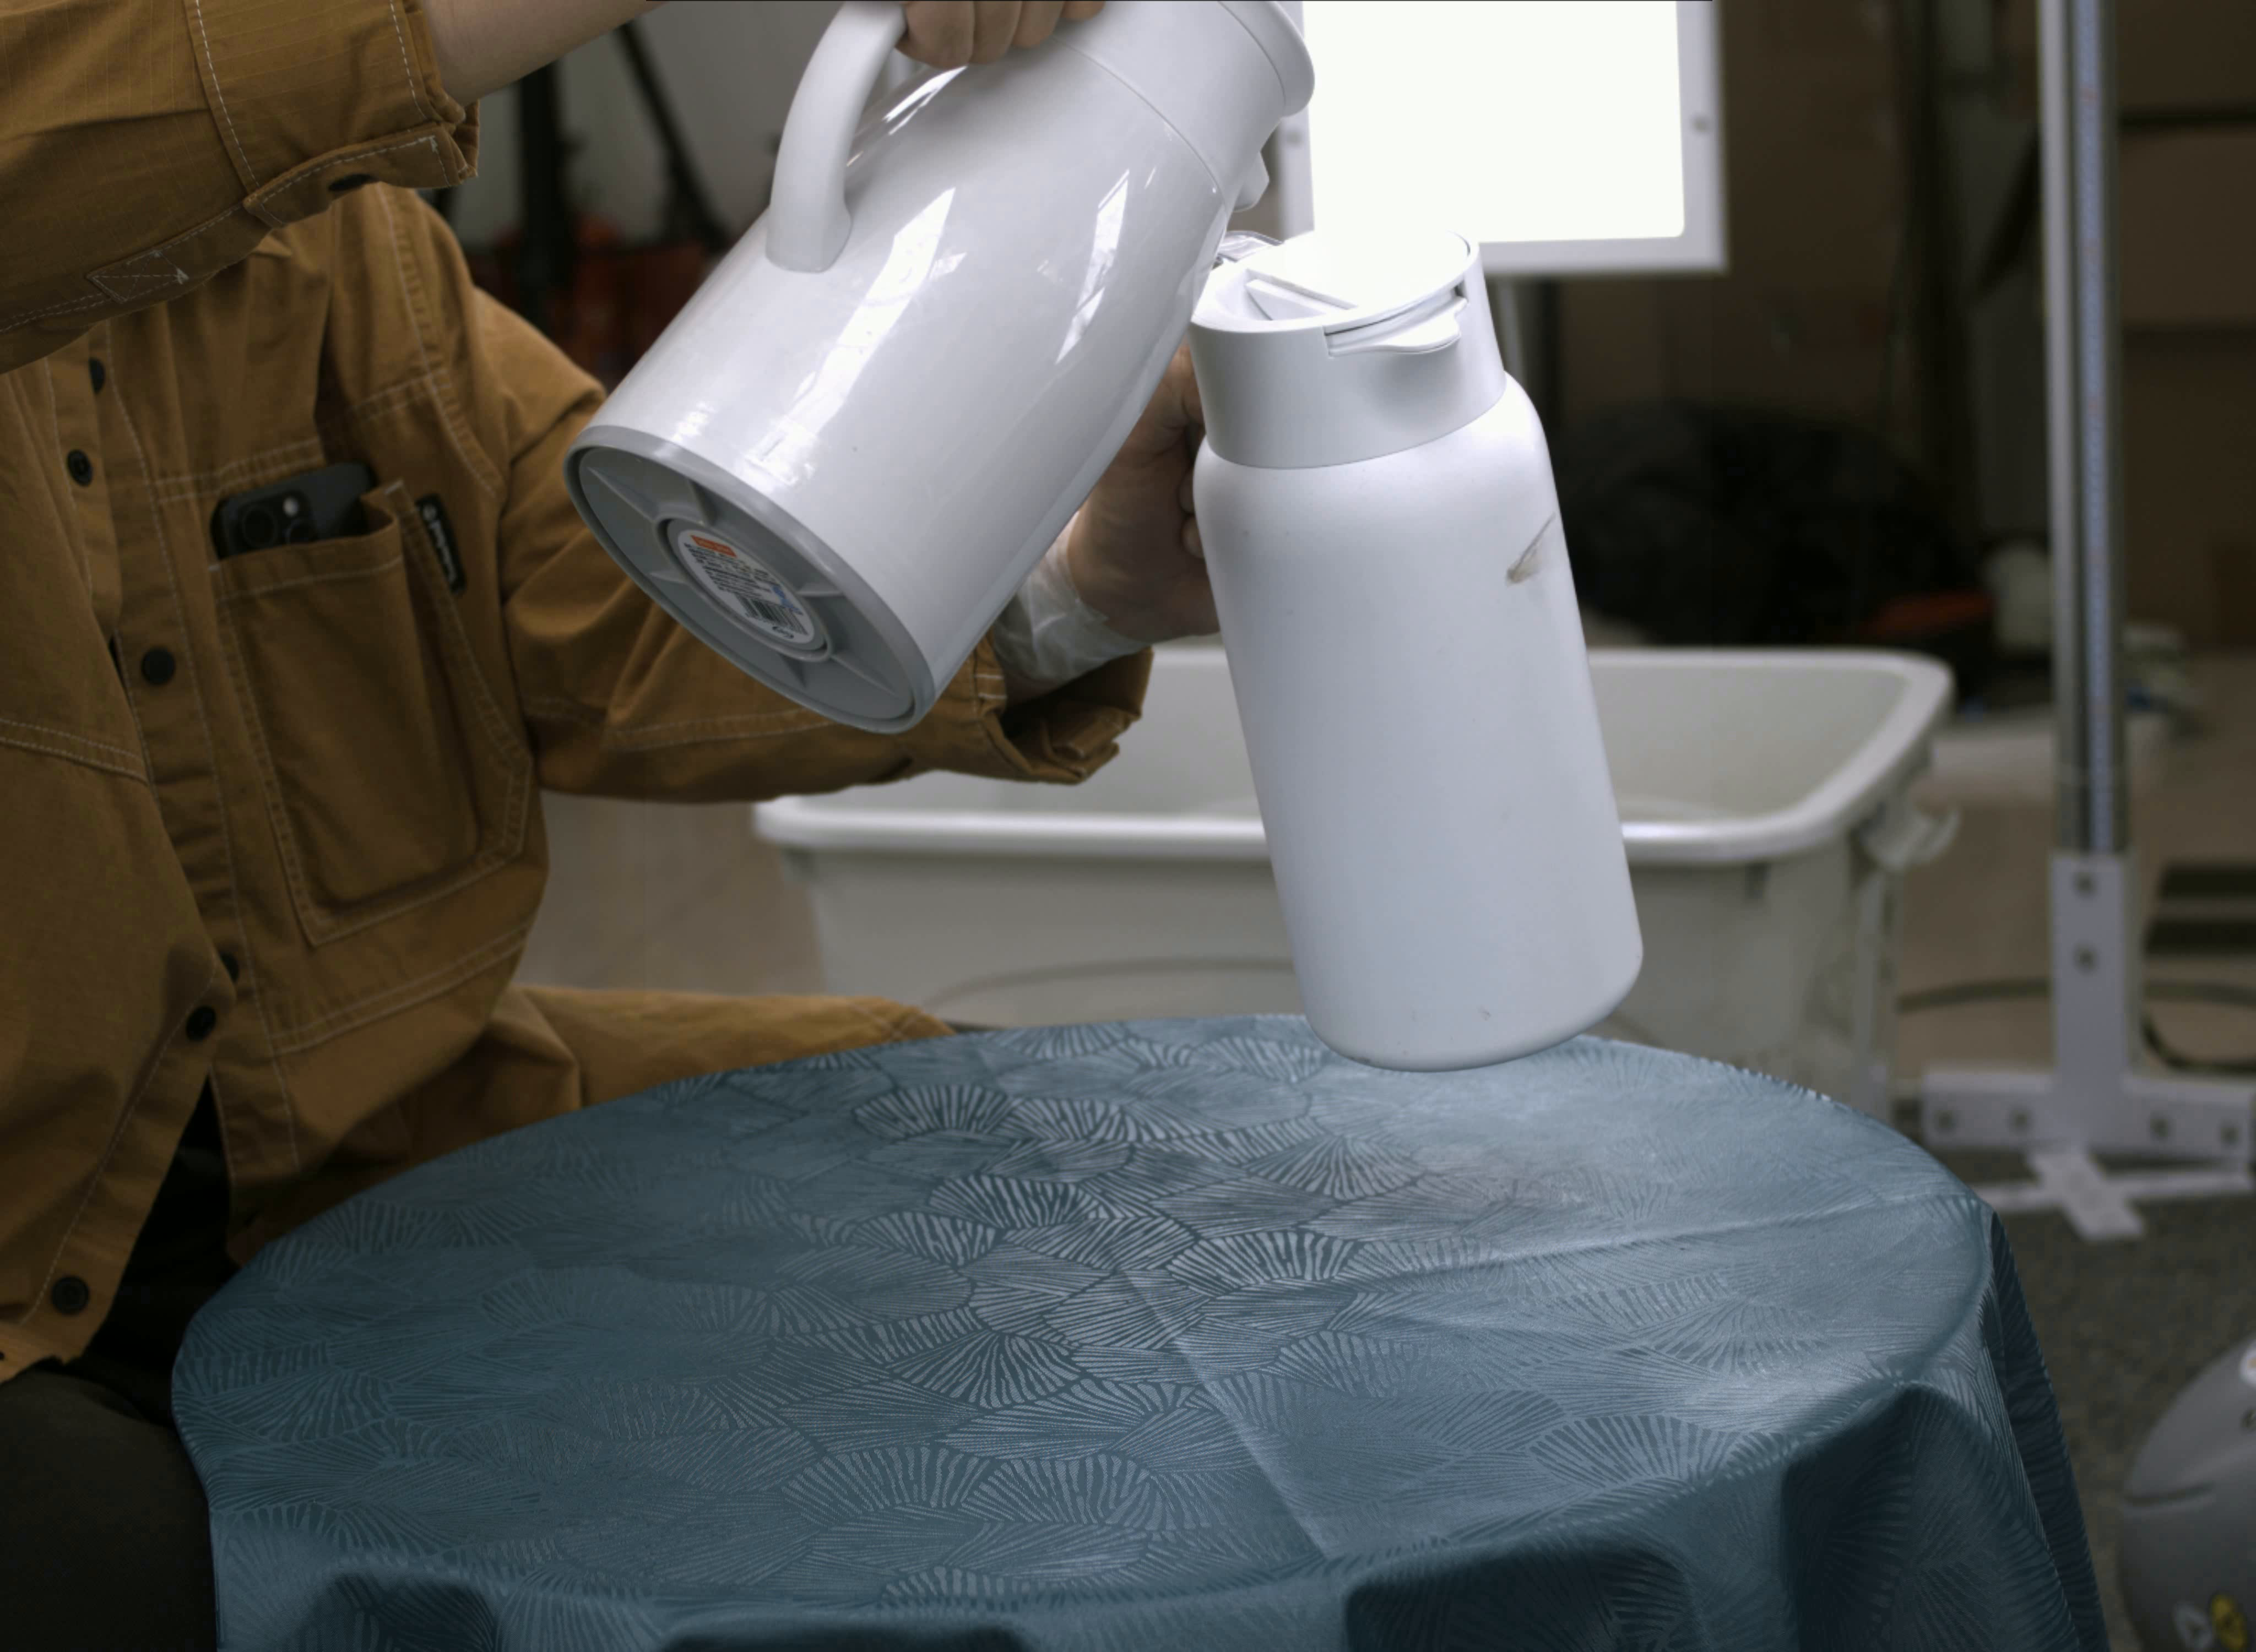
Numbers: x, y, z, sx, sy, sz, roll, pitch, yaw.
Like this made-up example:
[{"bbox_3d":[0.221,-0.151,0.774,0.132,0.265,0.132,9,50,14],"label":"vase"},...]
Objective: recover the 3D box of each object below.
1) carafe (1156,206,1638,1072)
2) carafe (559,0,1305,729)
[{"bbox_3d":[0.081,-0.064,1.822,0.122,0.269,0.175,-25,25,-21],"label":"carafe"},{"bbox_3d":[-0.053,-0.176,1.651,0.135,0.166,0.246,22,69,40],"label":"carafe"}]
